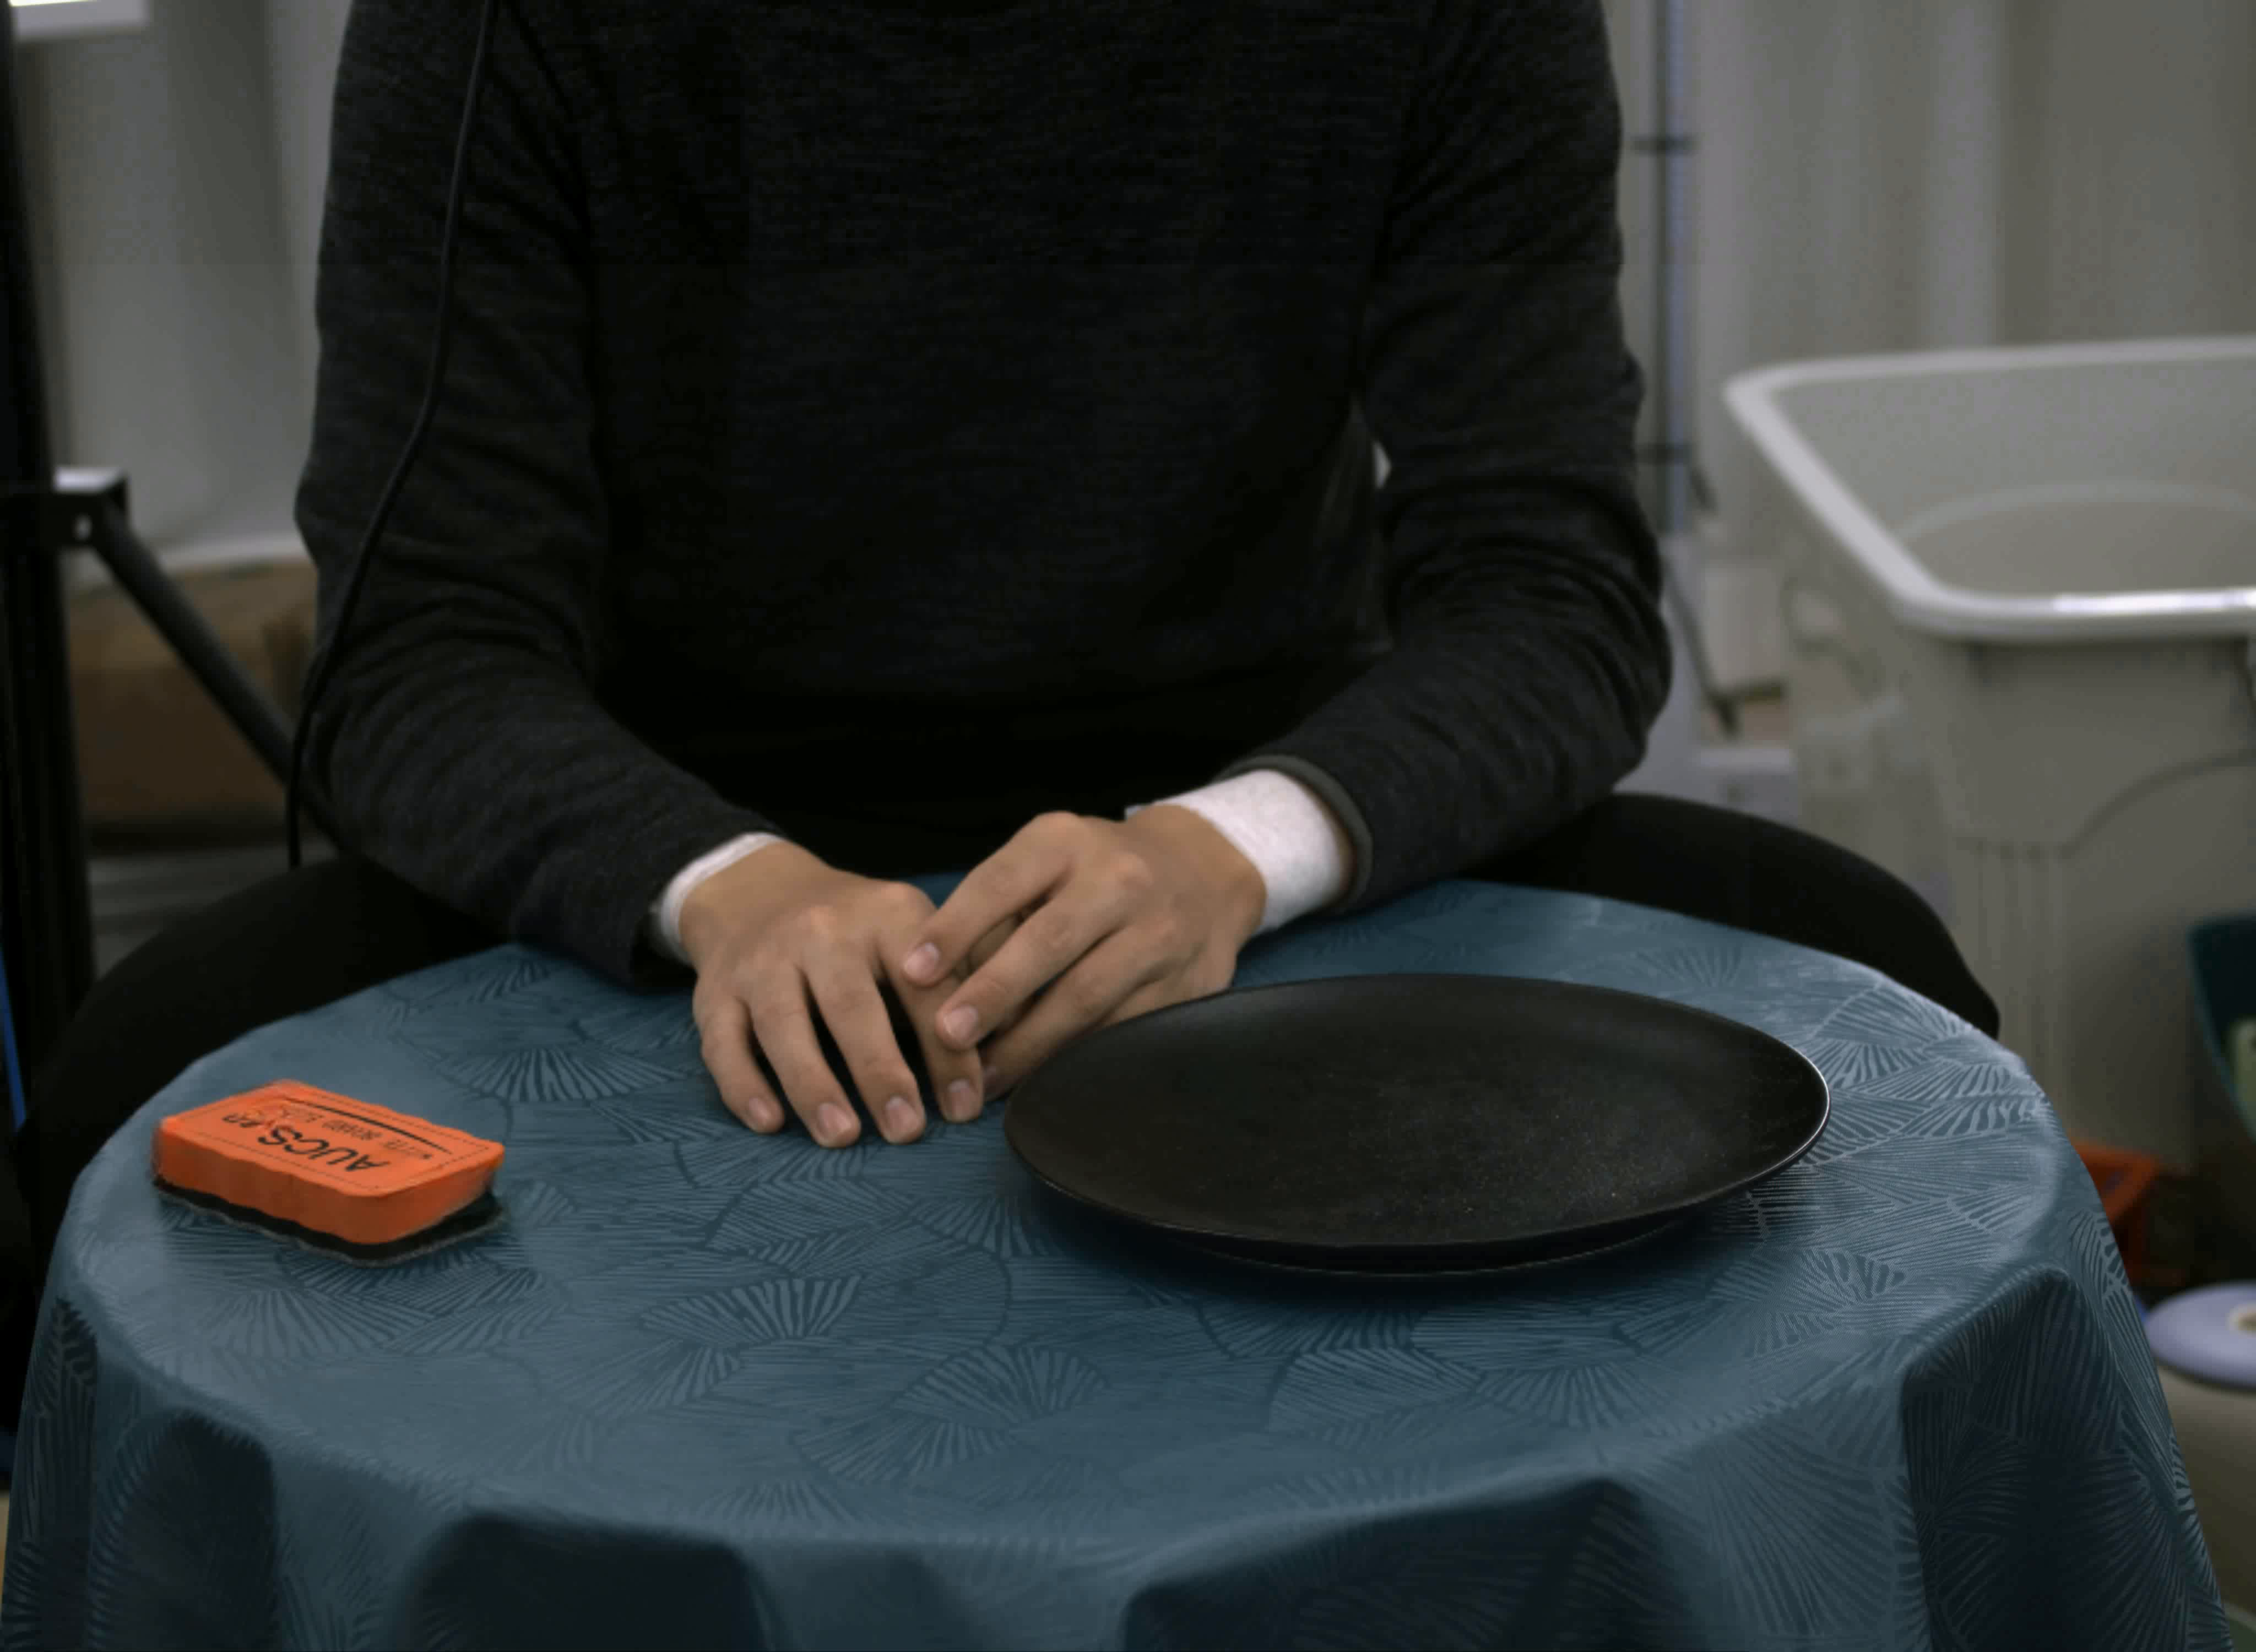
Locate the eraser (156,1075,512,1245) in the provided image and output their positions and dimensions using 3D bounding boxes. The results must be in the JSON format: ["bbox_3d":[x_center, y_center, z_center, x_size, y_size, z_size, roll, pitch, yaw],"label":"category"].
[{"bbox_3d":[-0.234,0.098,1.575,0.110,0.023,0.057,10,18,44],"label":"eraser"}]

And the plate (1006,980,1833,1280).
[{"bbox_3d":[0.086,0.091,1.560,0.243,0.023,0.245,-3,16,-1],"label":"plate"}]
